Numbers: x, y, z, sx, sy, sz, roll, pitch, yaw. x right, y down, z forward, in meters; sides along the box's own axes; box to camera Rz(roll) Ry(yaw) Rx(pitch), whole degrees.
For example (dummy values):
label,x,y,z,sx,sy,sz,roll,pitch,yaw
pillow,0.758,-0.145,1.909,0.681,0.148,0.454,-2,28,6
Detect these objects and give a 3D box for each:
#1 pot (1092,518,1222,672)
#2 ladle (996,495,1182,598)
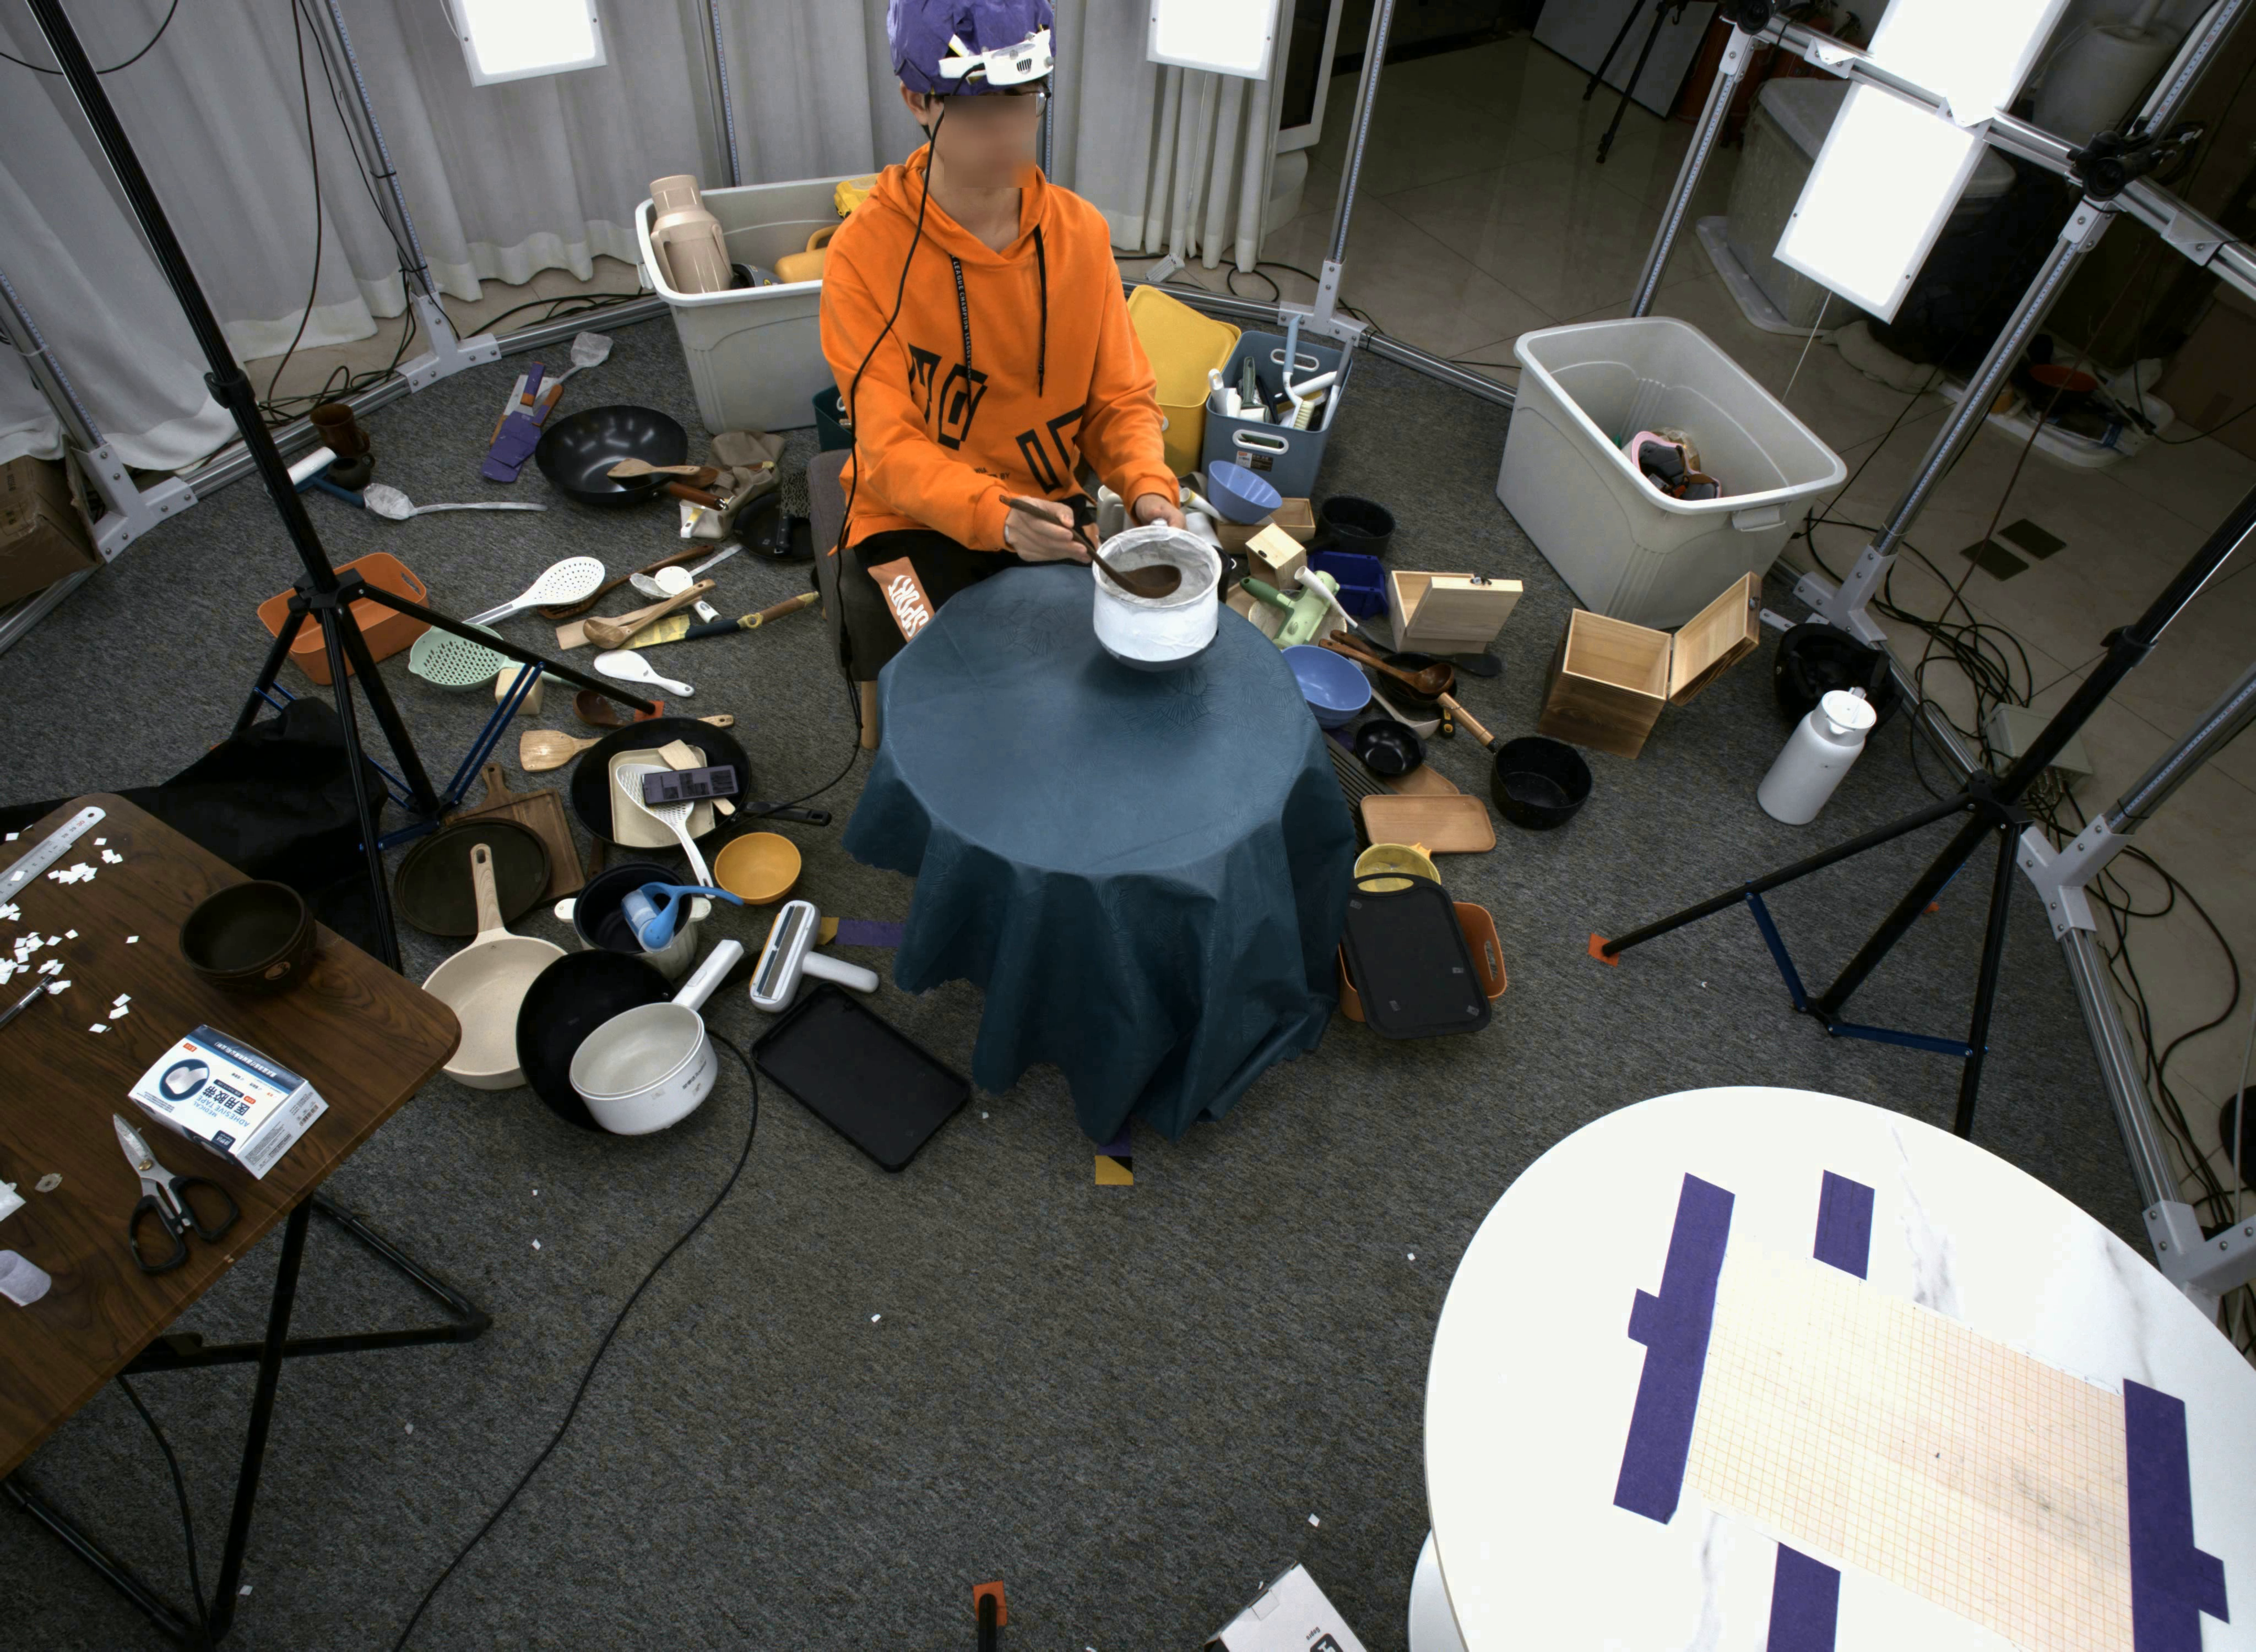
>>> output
label,x,y,z,sx,sy,sz,roll,pitch,yaw
pot,0.040,-0.334,1.817,0.178,0.133,0.239,1,48,1
ladle,-0.043,-0.373,1.658,0.270,0.071,0.077,30,11,-34
